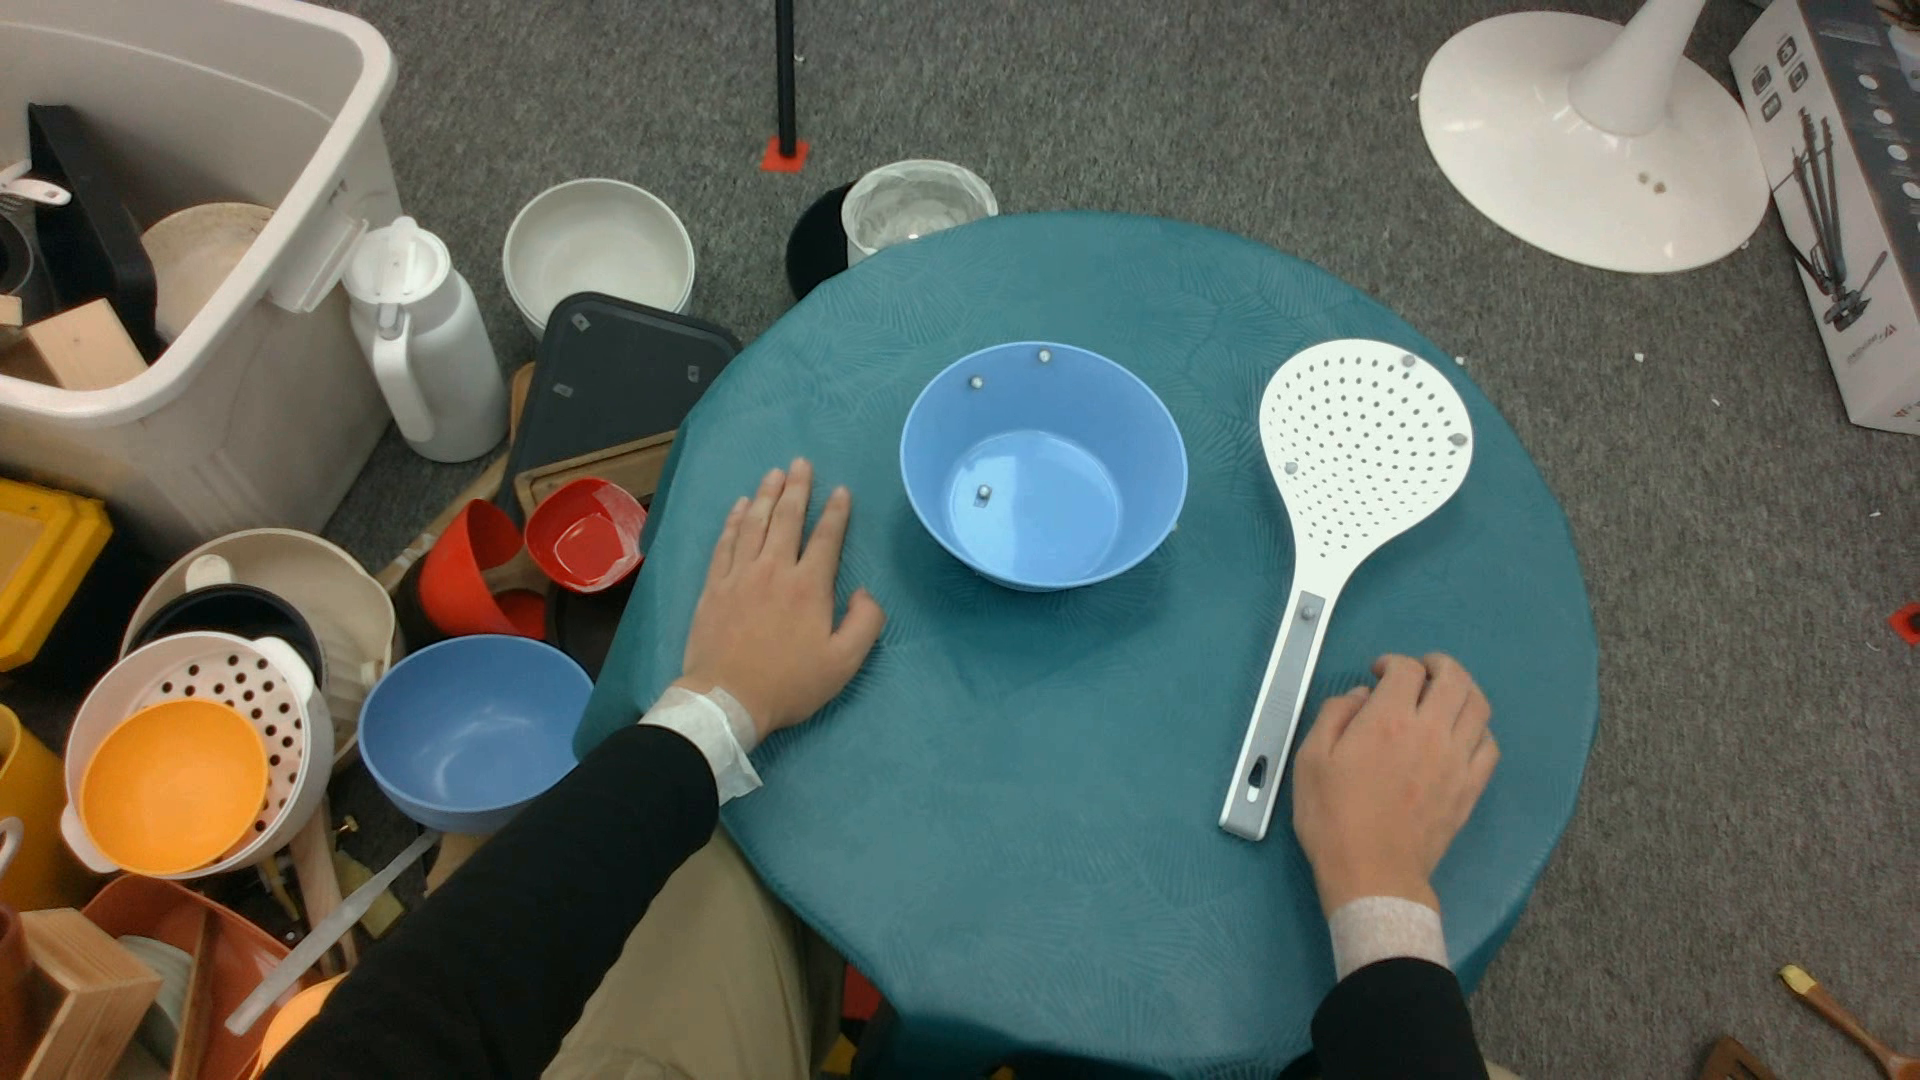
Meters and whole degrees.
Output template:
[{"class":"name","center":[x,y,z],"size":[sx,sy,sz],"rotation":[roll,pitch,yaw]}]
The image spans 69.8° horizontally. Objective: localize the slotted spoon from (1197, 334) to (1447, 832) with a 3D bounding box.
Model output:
[{"class":"slotted spoon","center":[0.212,0.017,0.862],"size":[0.136,0.045,0.351],"rotation":[21,61,5]}]

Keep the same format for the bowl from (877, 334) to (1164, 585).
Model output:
[{"class":"bowl","center":[0.035,-0.039,0.859],"size":[0.176,0.070,0.177],"rotation":[3,62,-5]}]
